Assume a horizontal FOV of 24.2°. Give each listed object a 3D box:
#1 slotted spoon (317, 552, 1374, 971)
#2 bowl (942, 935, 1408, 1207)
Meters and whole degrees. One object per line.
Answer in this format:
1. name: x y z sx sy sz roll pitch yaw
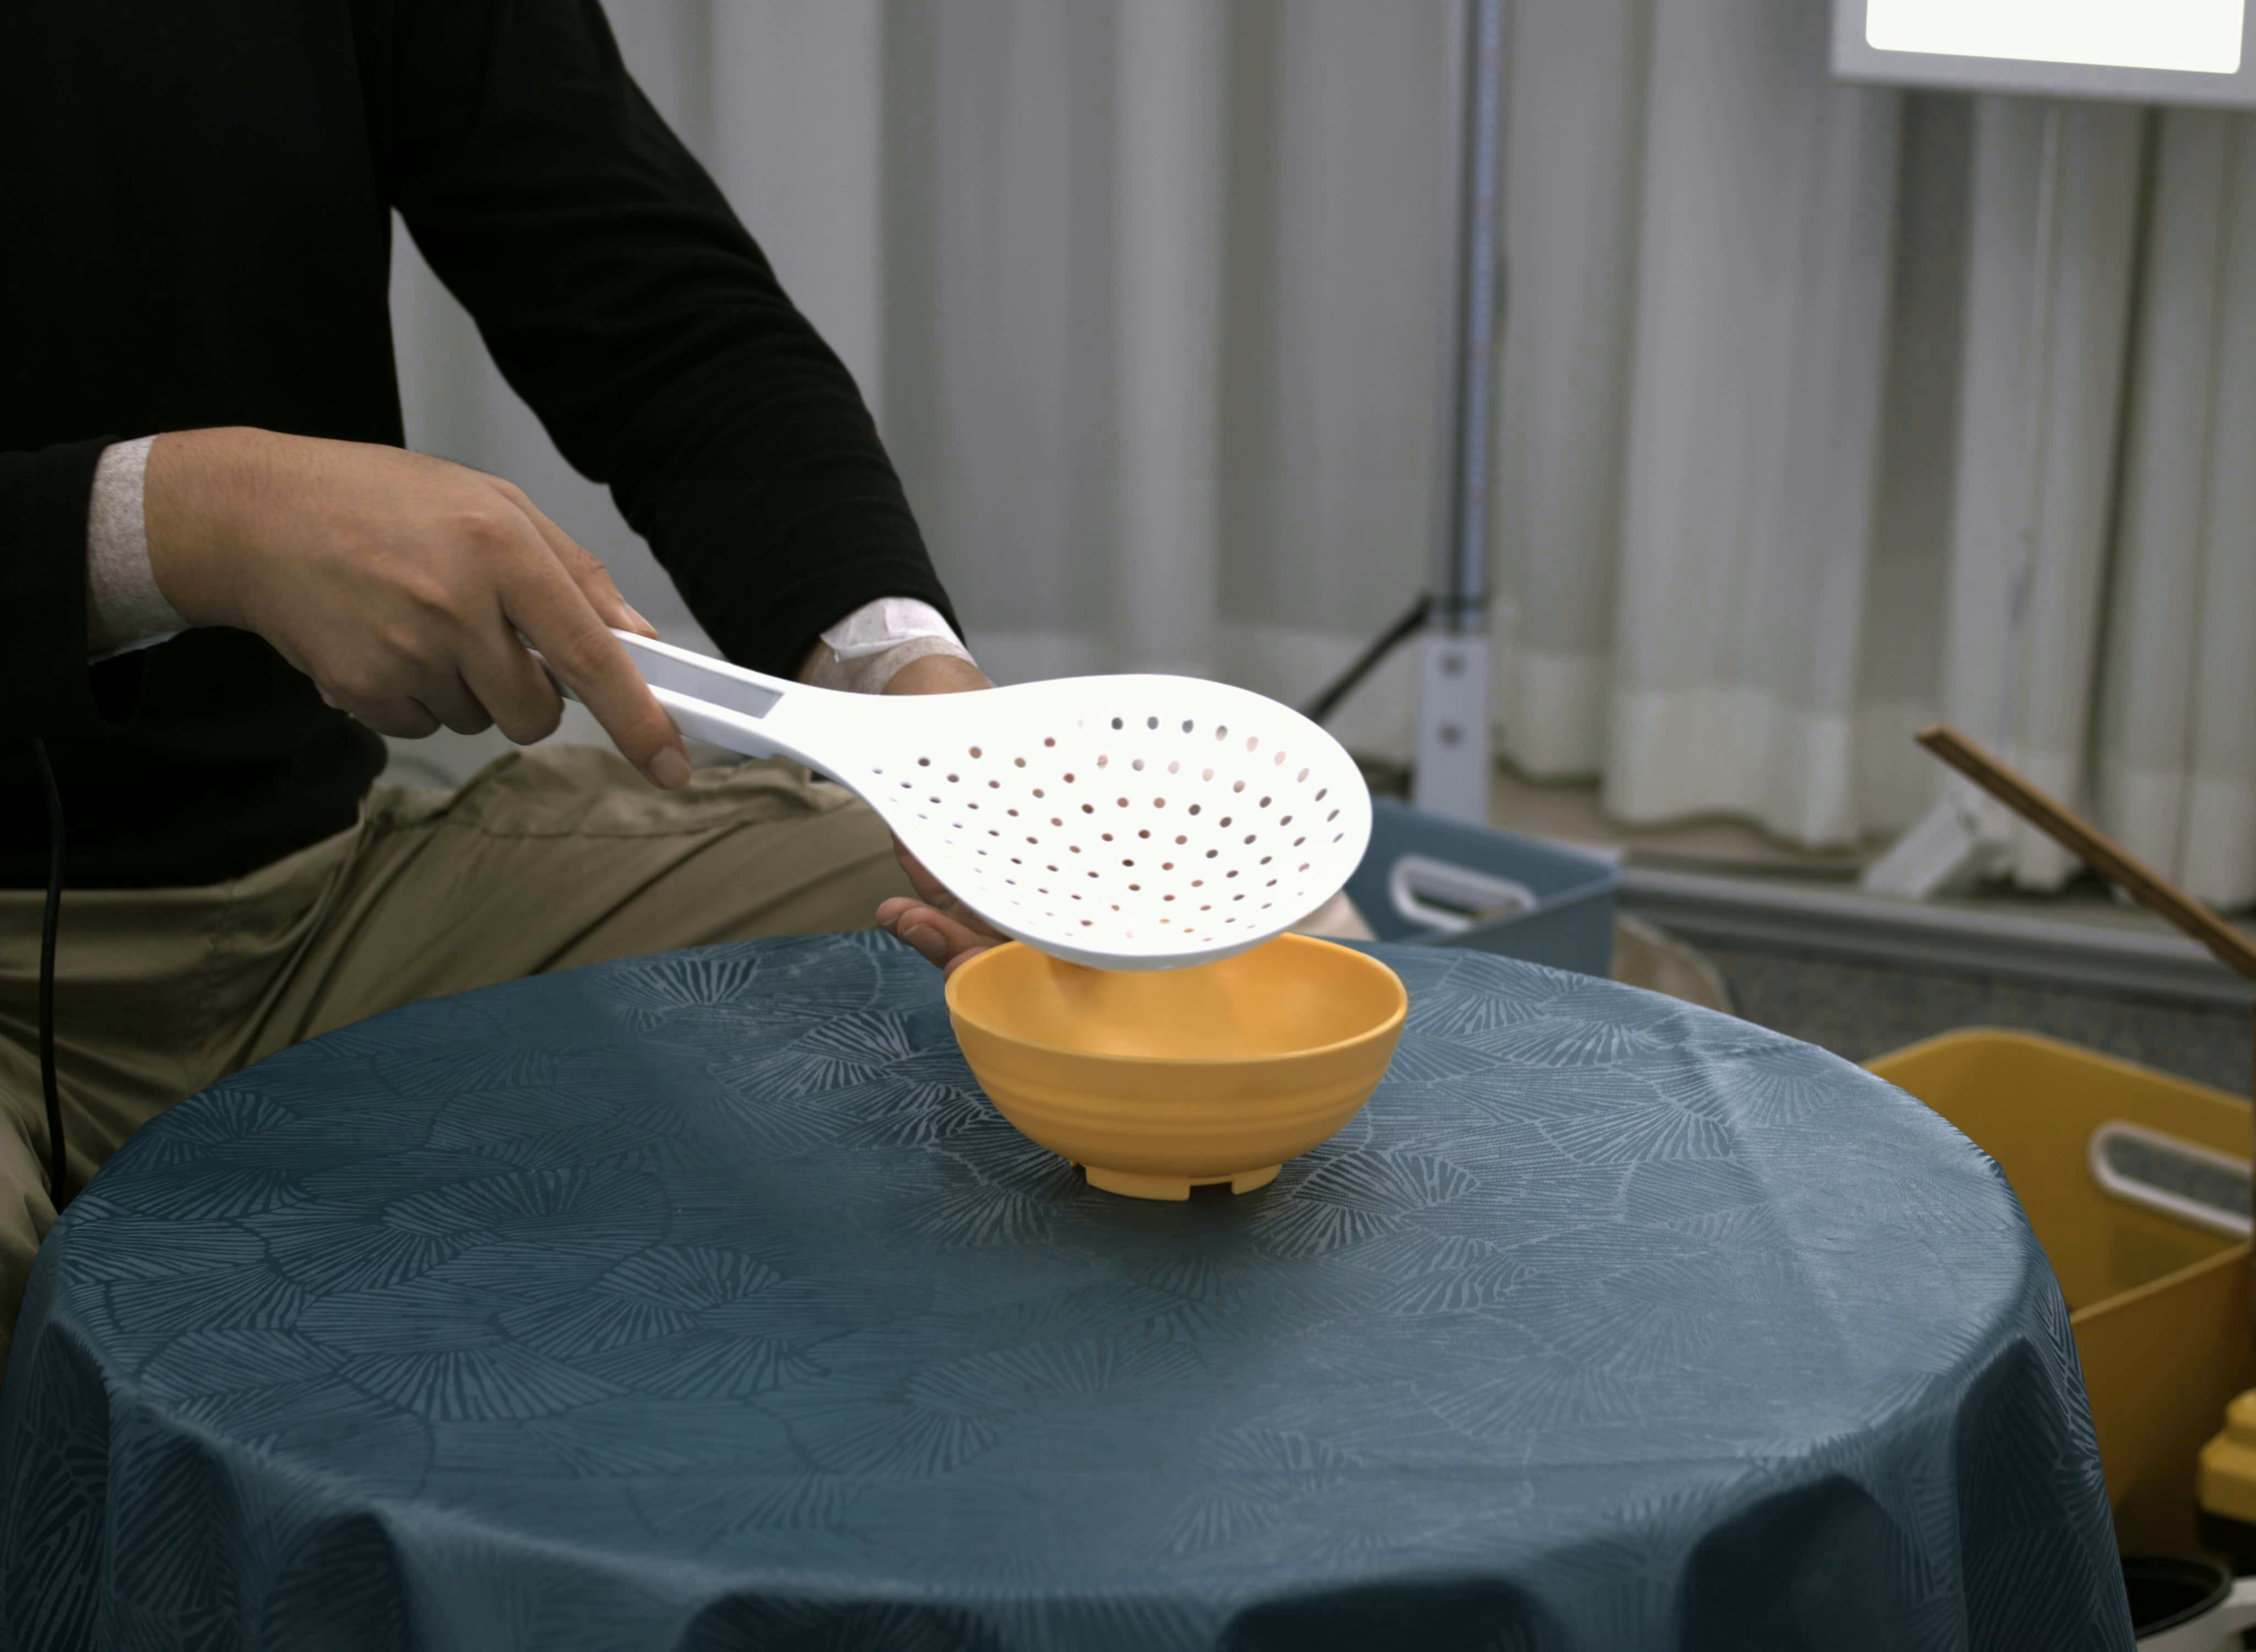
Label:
1. slotted spoon: -0.092 -0.029 1.604 0.347 0.046 0.135 20 42 14
2. bowl: 0.014 0.080 1.634 0.145 0.060 0.144 2 15 0
